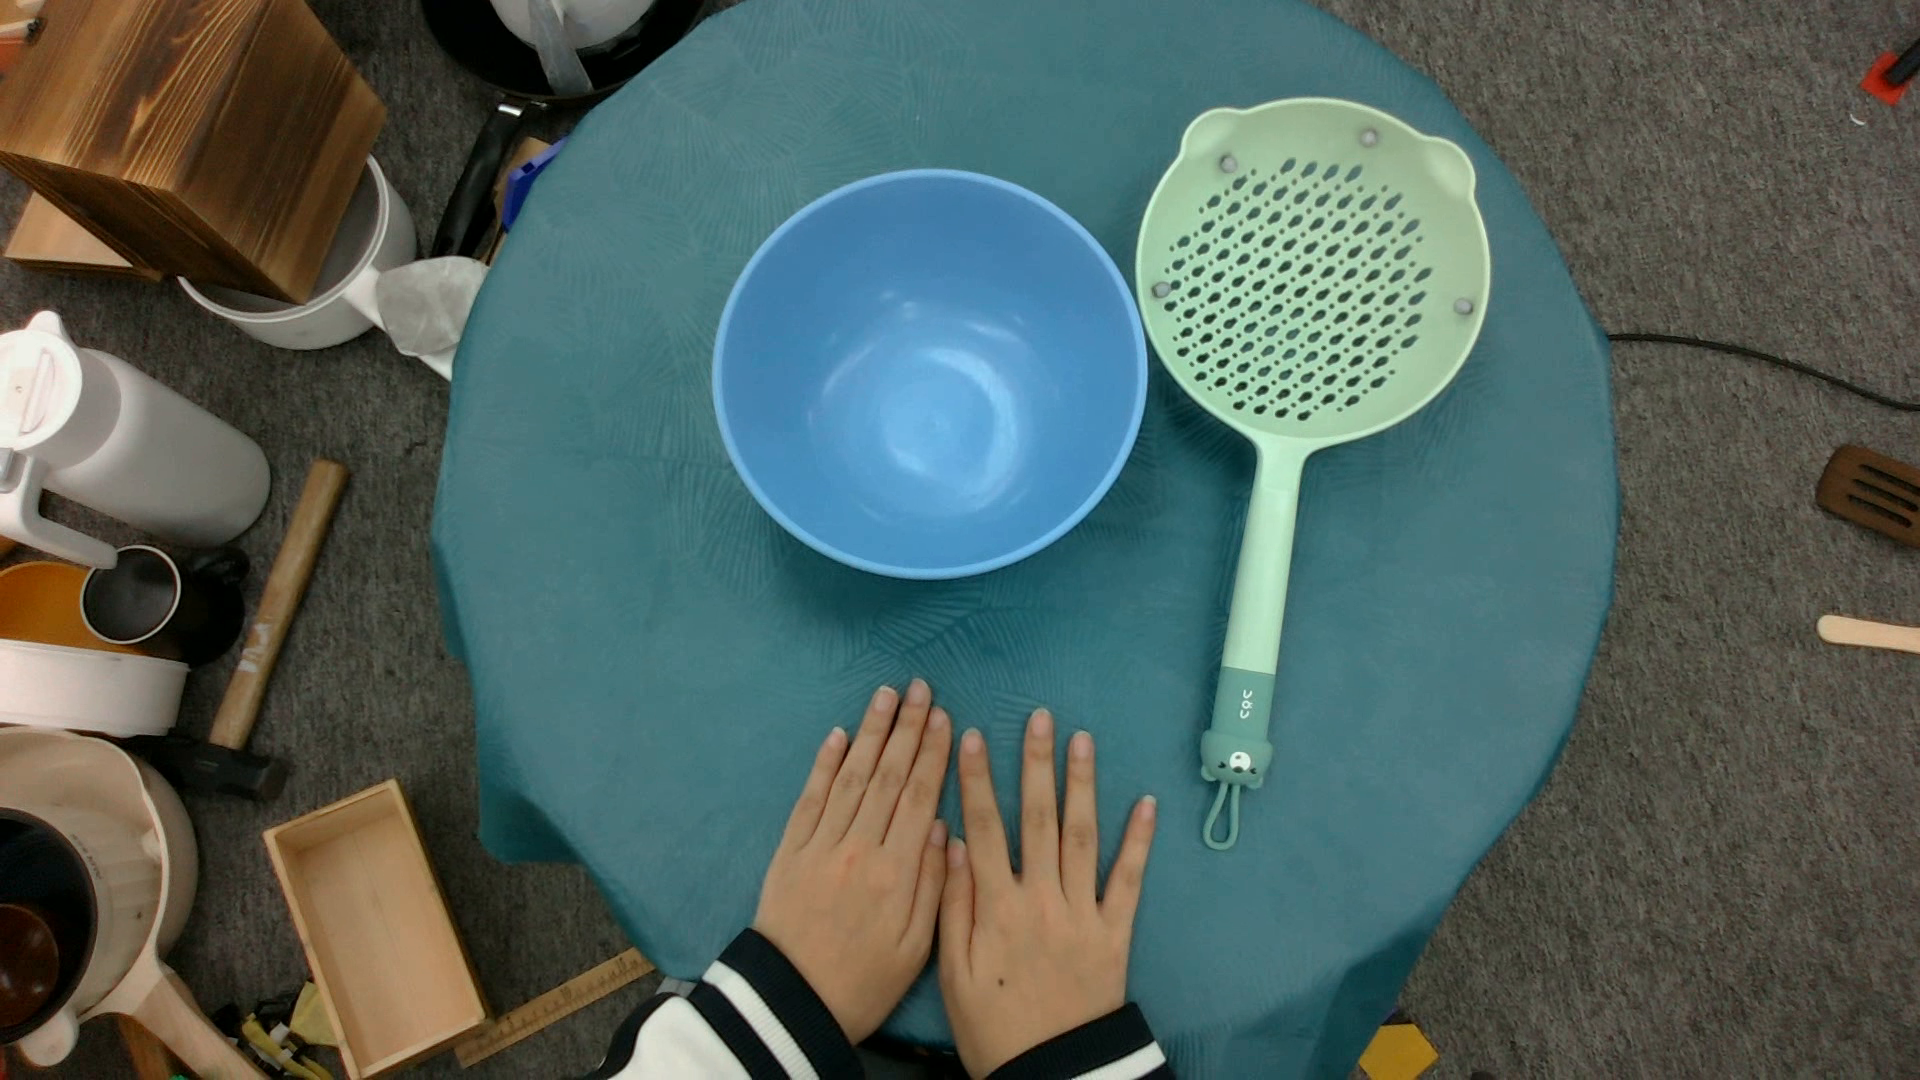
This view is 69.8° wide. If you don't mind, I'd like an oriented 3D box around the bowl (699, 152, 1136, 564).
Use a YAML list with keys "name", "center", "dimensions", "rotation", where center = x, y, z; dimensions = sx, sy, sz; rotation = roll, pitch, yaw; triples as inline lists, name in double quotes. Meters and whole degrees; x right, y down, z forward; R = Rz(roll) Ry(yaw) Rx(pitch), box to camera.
- name: "bowl"
  center: [-0.019, -0.075, 0.661]
  dimensions: [0.196, 0.095, 0.197]
  rotation: [0, 76, 0]

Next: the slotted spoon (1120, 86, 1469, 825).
- name: "slotted spoon"
  center: [0.147, -0.041, 0.672]
  dimensions: [0.169, 0.075, 0.359]
  rotation: [9, 78, 3]
